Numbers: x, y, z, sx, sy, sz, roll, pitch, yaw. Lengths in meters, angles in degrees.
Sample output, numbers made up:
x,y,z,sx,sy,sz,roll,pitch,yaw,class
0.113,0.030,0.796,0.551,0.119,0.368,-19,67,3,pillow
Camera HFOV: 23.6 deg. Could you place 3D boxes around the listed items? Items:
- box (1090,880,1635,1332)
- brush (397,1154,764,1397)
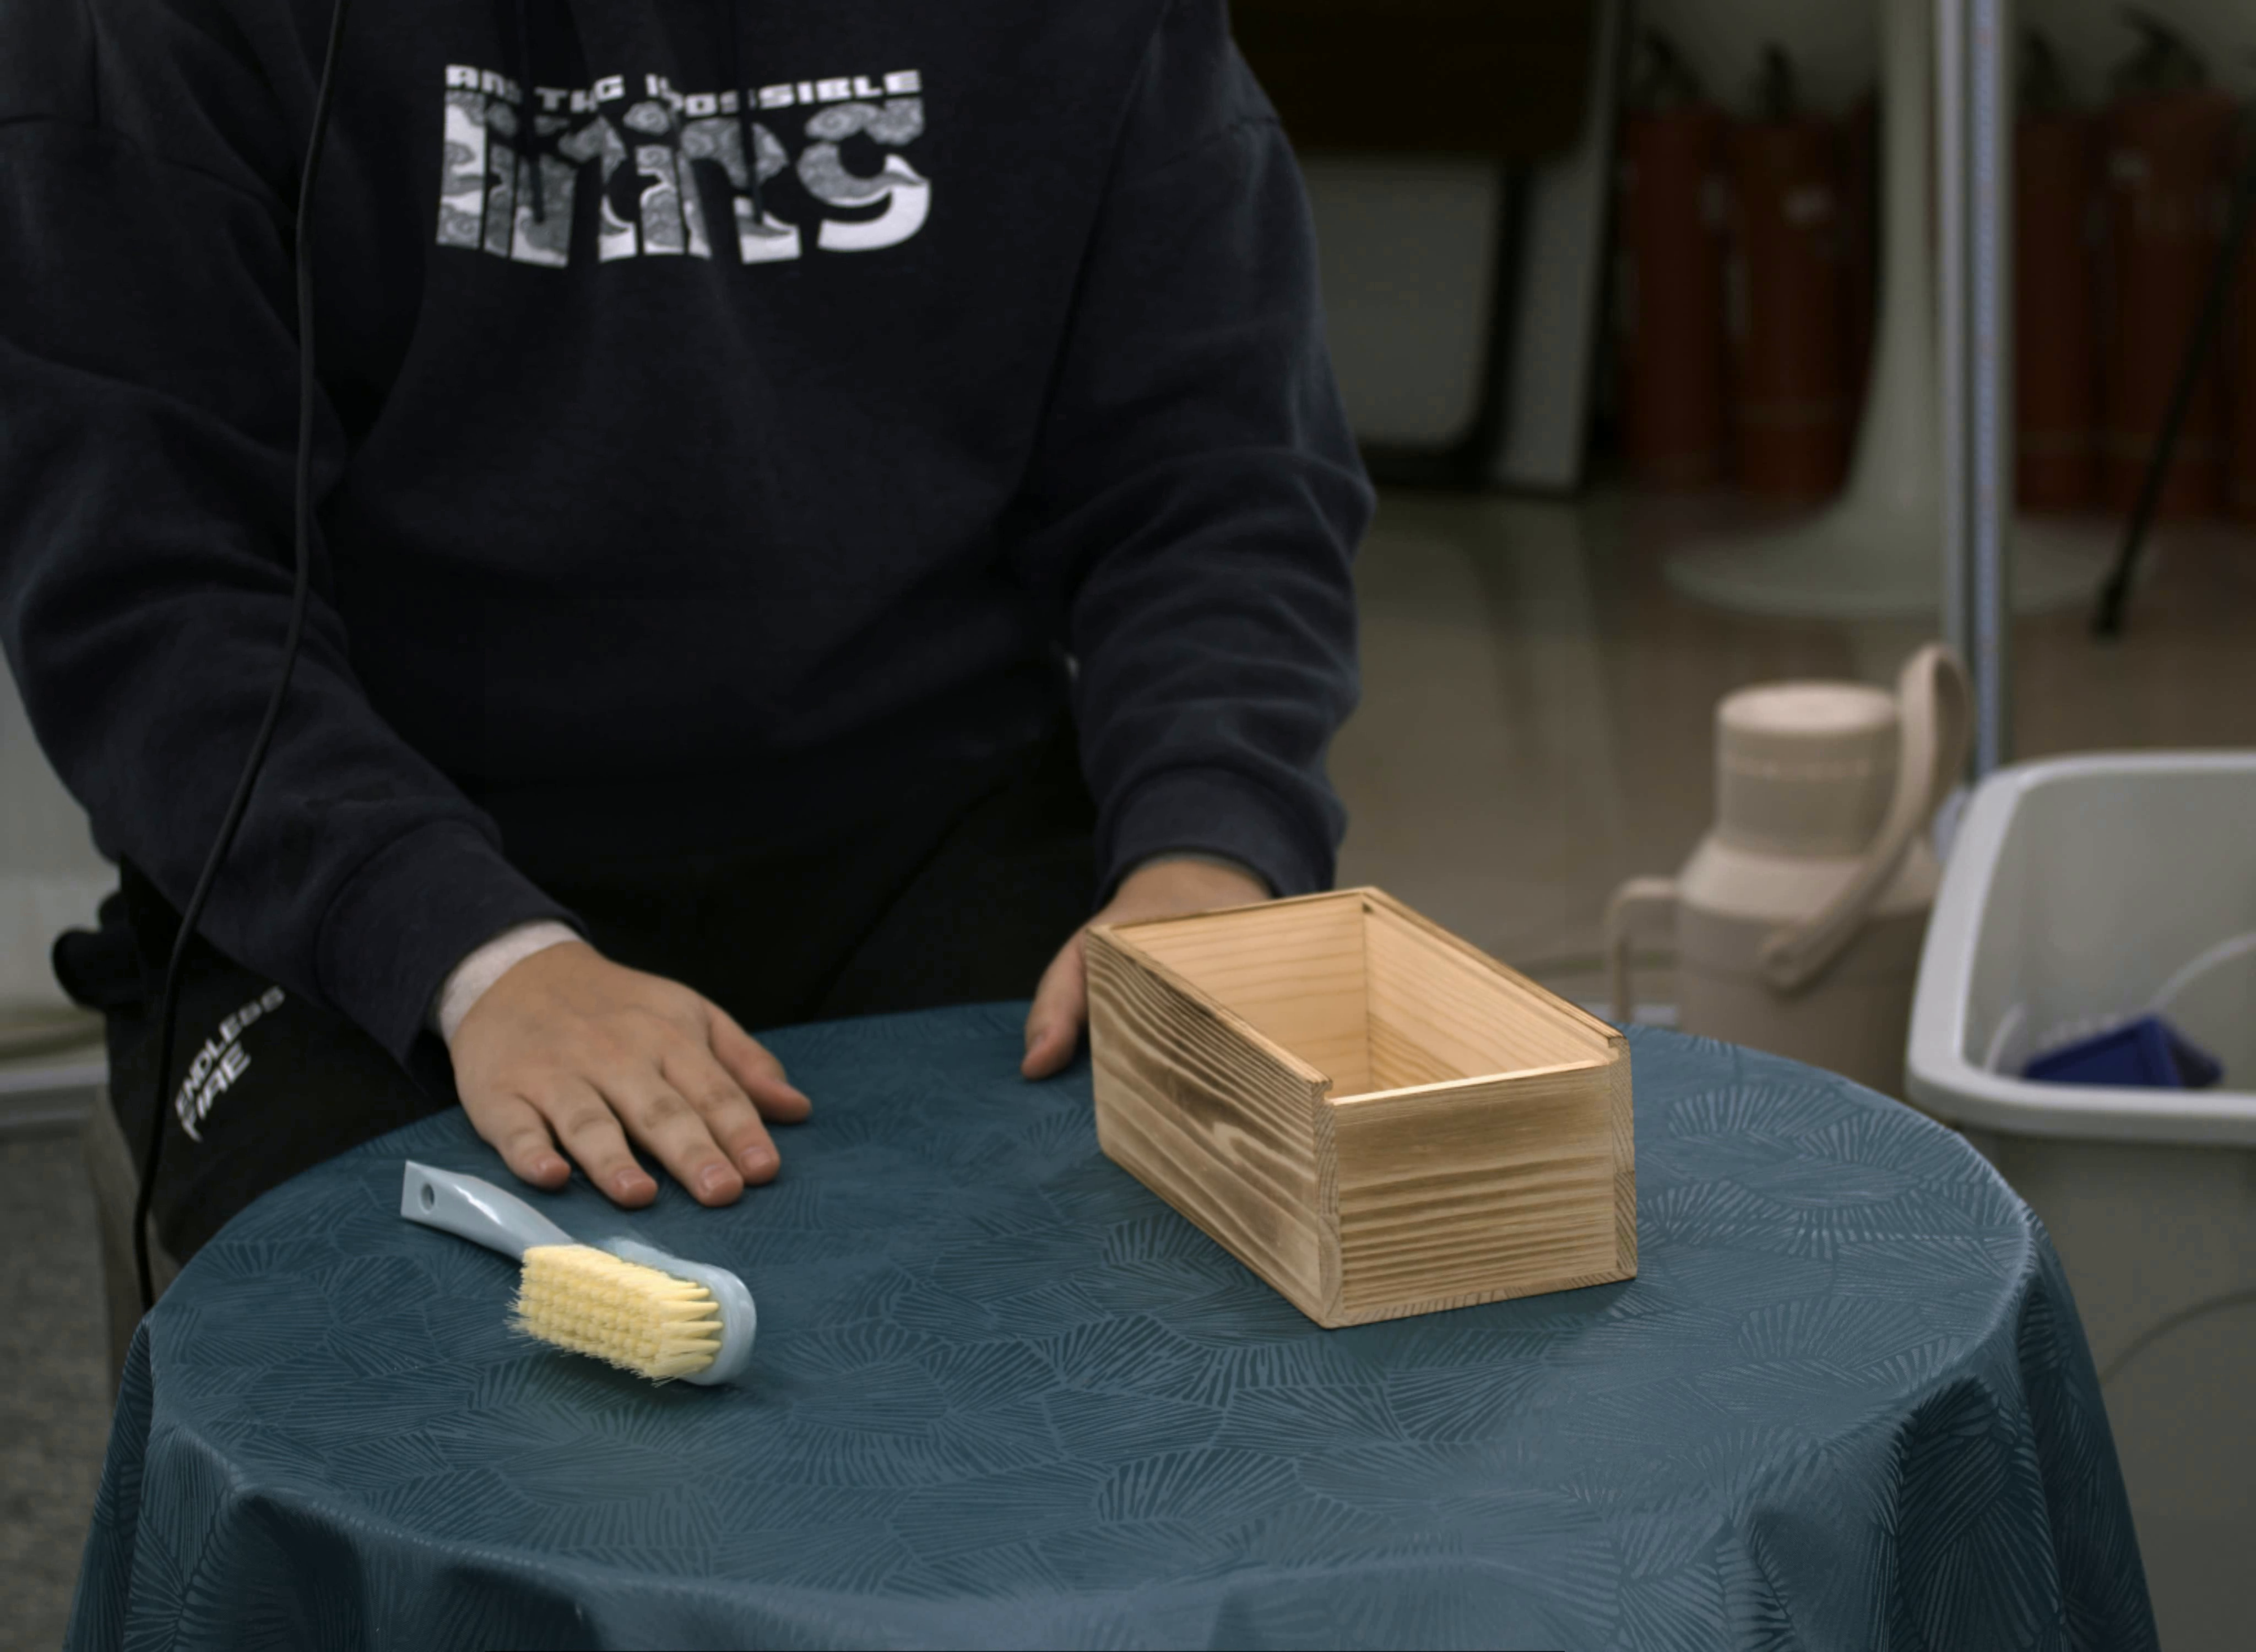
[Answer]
x,y,z,sx,sy,sz,roll,pitch,yaw,class
0.072,0.086,1.728,0.105,0.081,0.213,-8,15,-18,box
-0.184,0.136,1.688,0.048,0.038,0.231,-3,12,-30,brush
